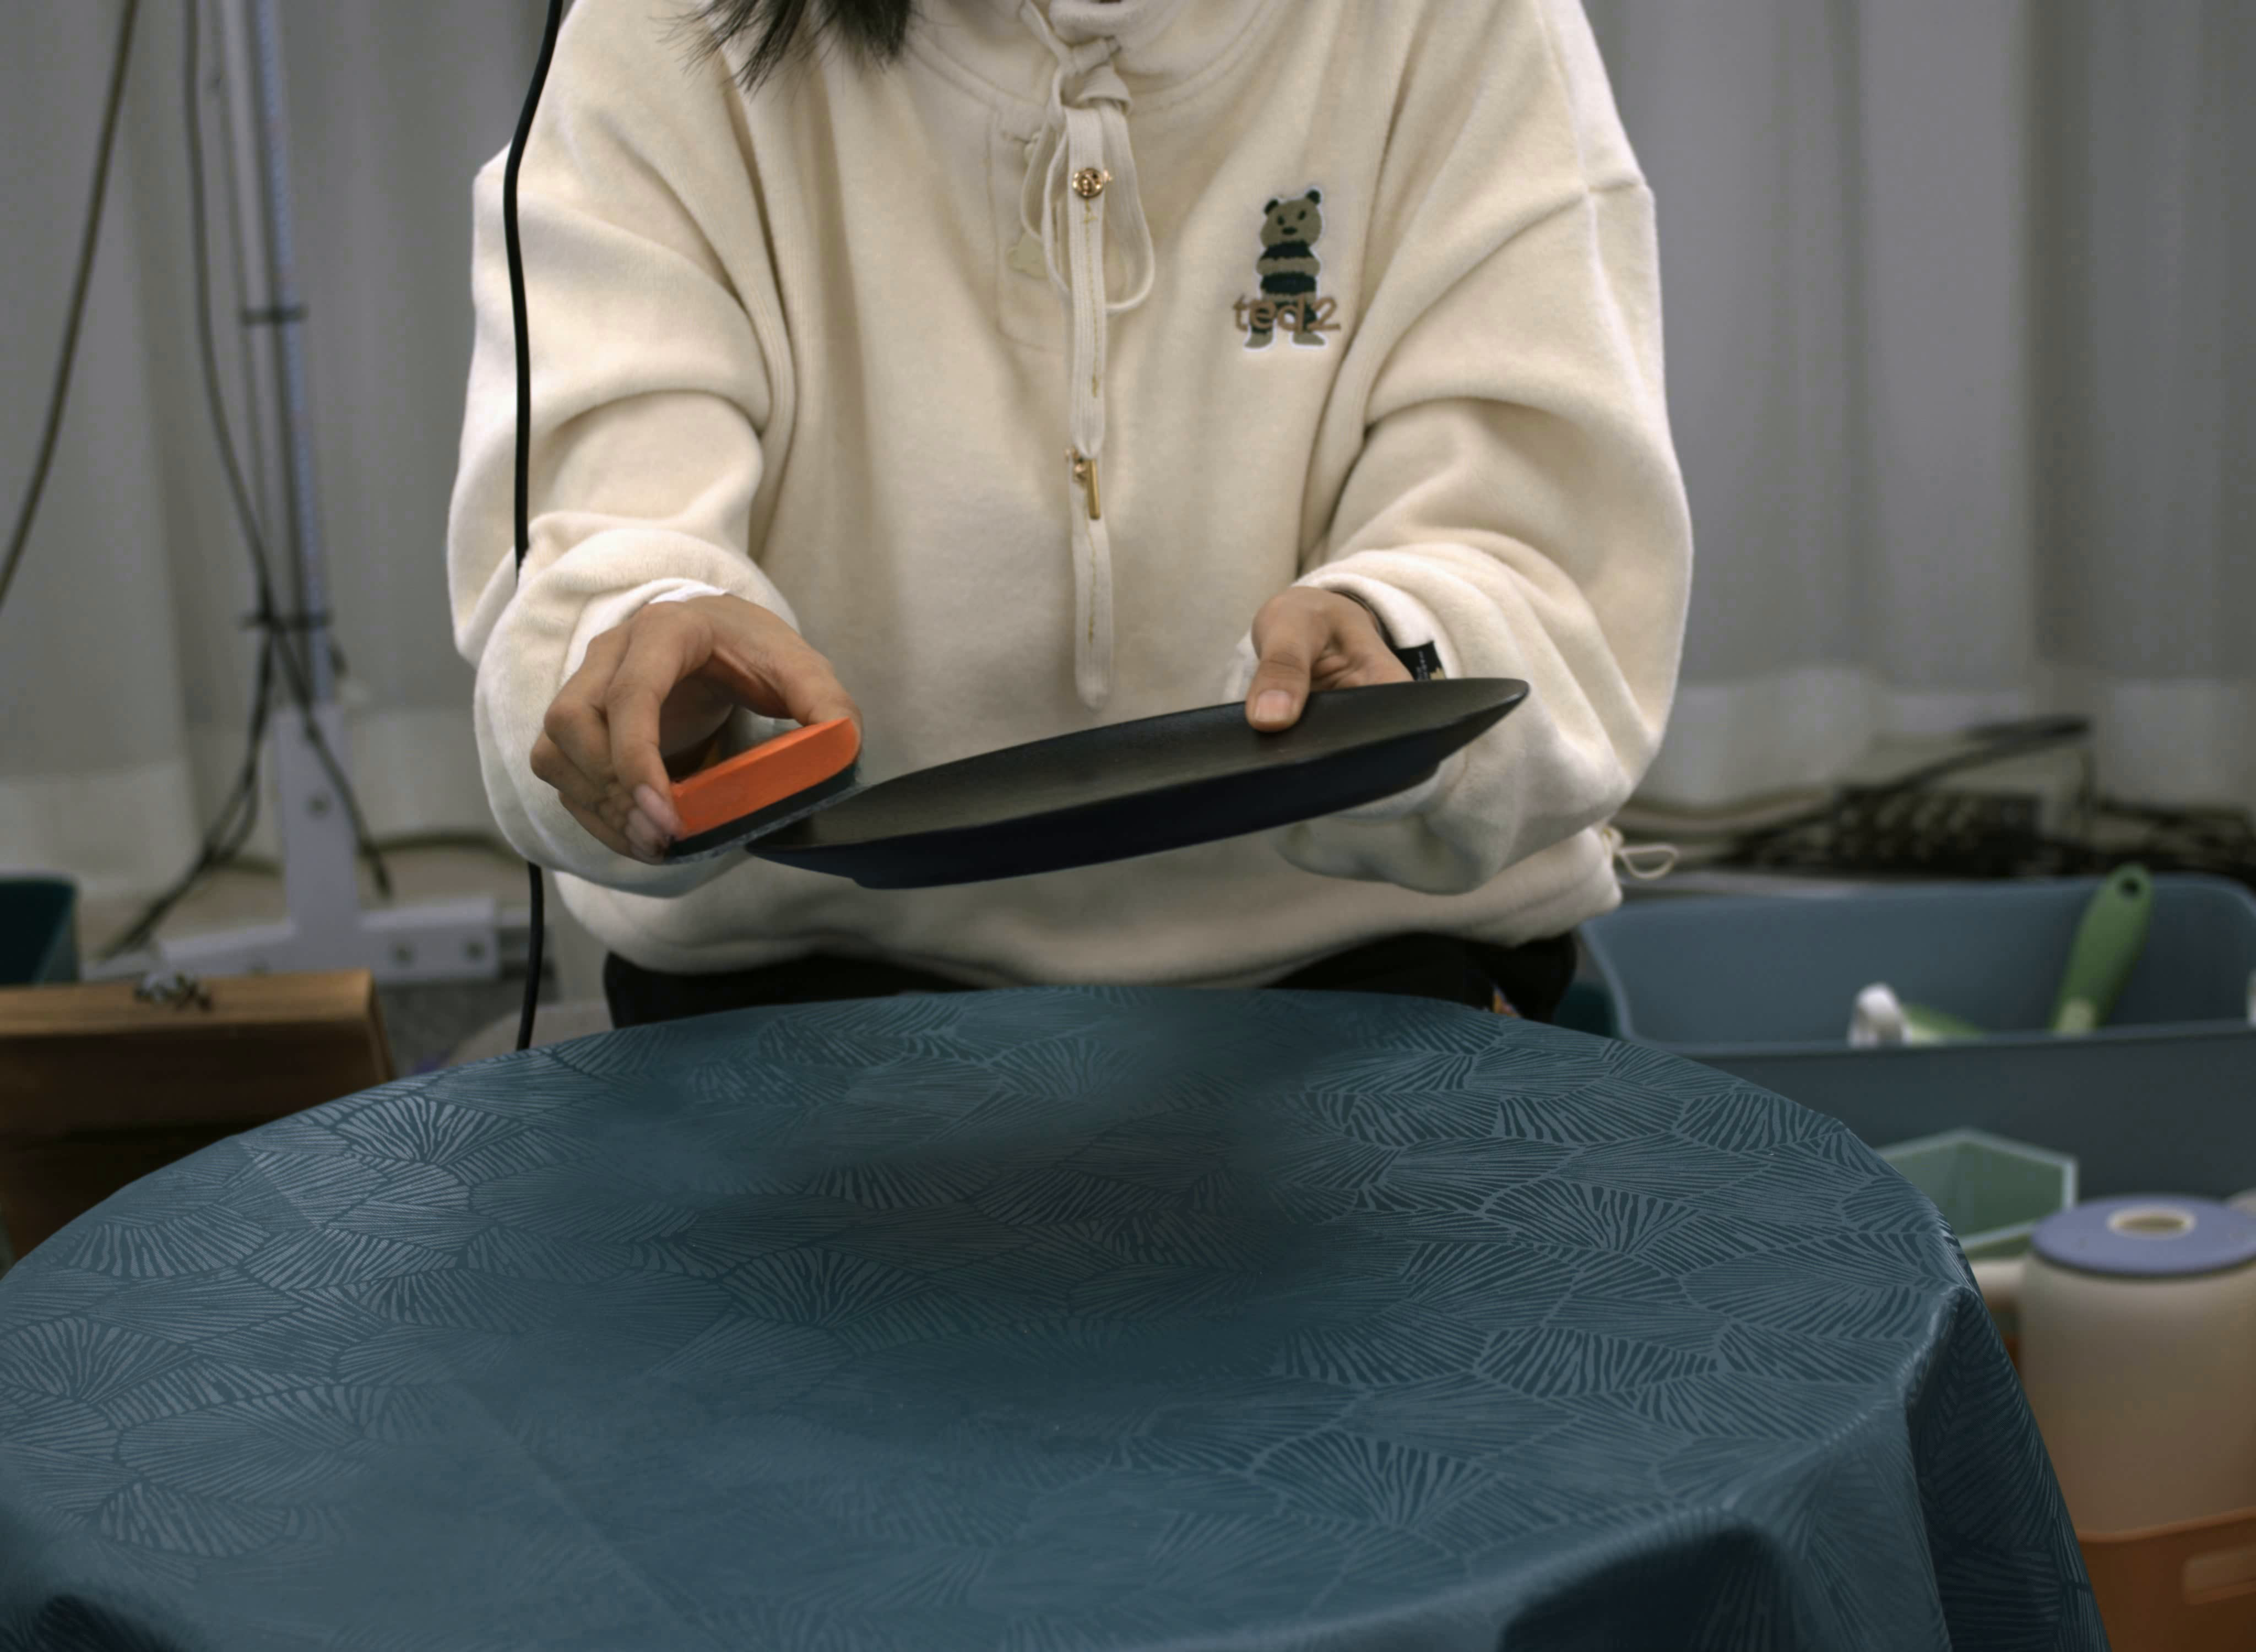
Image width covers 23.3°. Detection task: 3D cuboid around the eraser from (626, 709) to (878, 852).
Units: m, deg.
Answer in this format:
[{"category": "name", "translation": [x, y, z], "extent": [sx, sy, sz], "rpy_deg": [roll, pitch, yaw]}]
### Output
[{"category": "eraser", "translation": [-0.116, -0.014, 1.671], "extent": [0.059, 0.023, 0.108], "rpy_deg": [-26, 7, -14]}]

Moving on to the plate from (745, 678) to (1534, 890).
[{"category": "plate", "translation": [0.005, -0.011, 1.657], "extent": [0.243, 0.023, 0.245], "rpy_deg": [-11, 5, 1]}]
